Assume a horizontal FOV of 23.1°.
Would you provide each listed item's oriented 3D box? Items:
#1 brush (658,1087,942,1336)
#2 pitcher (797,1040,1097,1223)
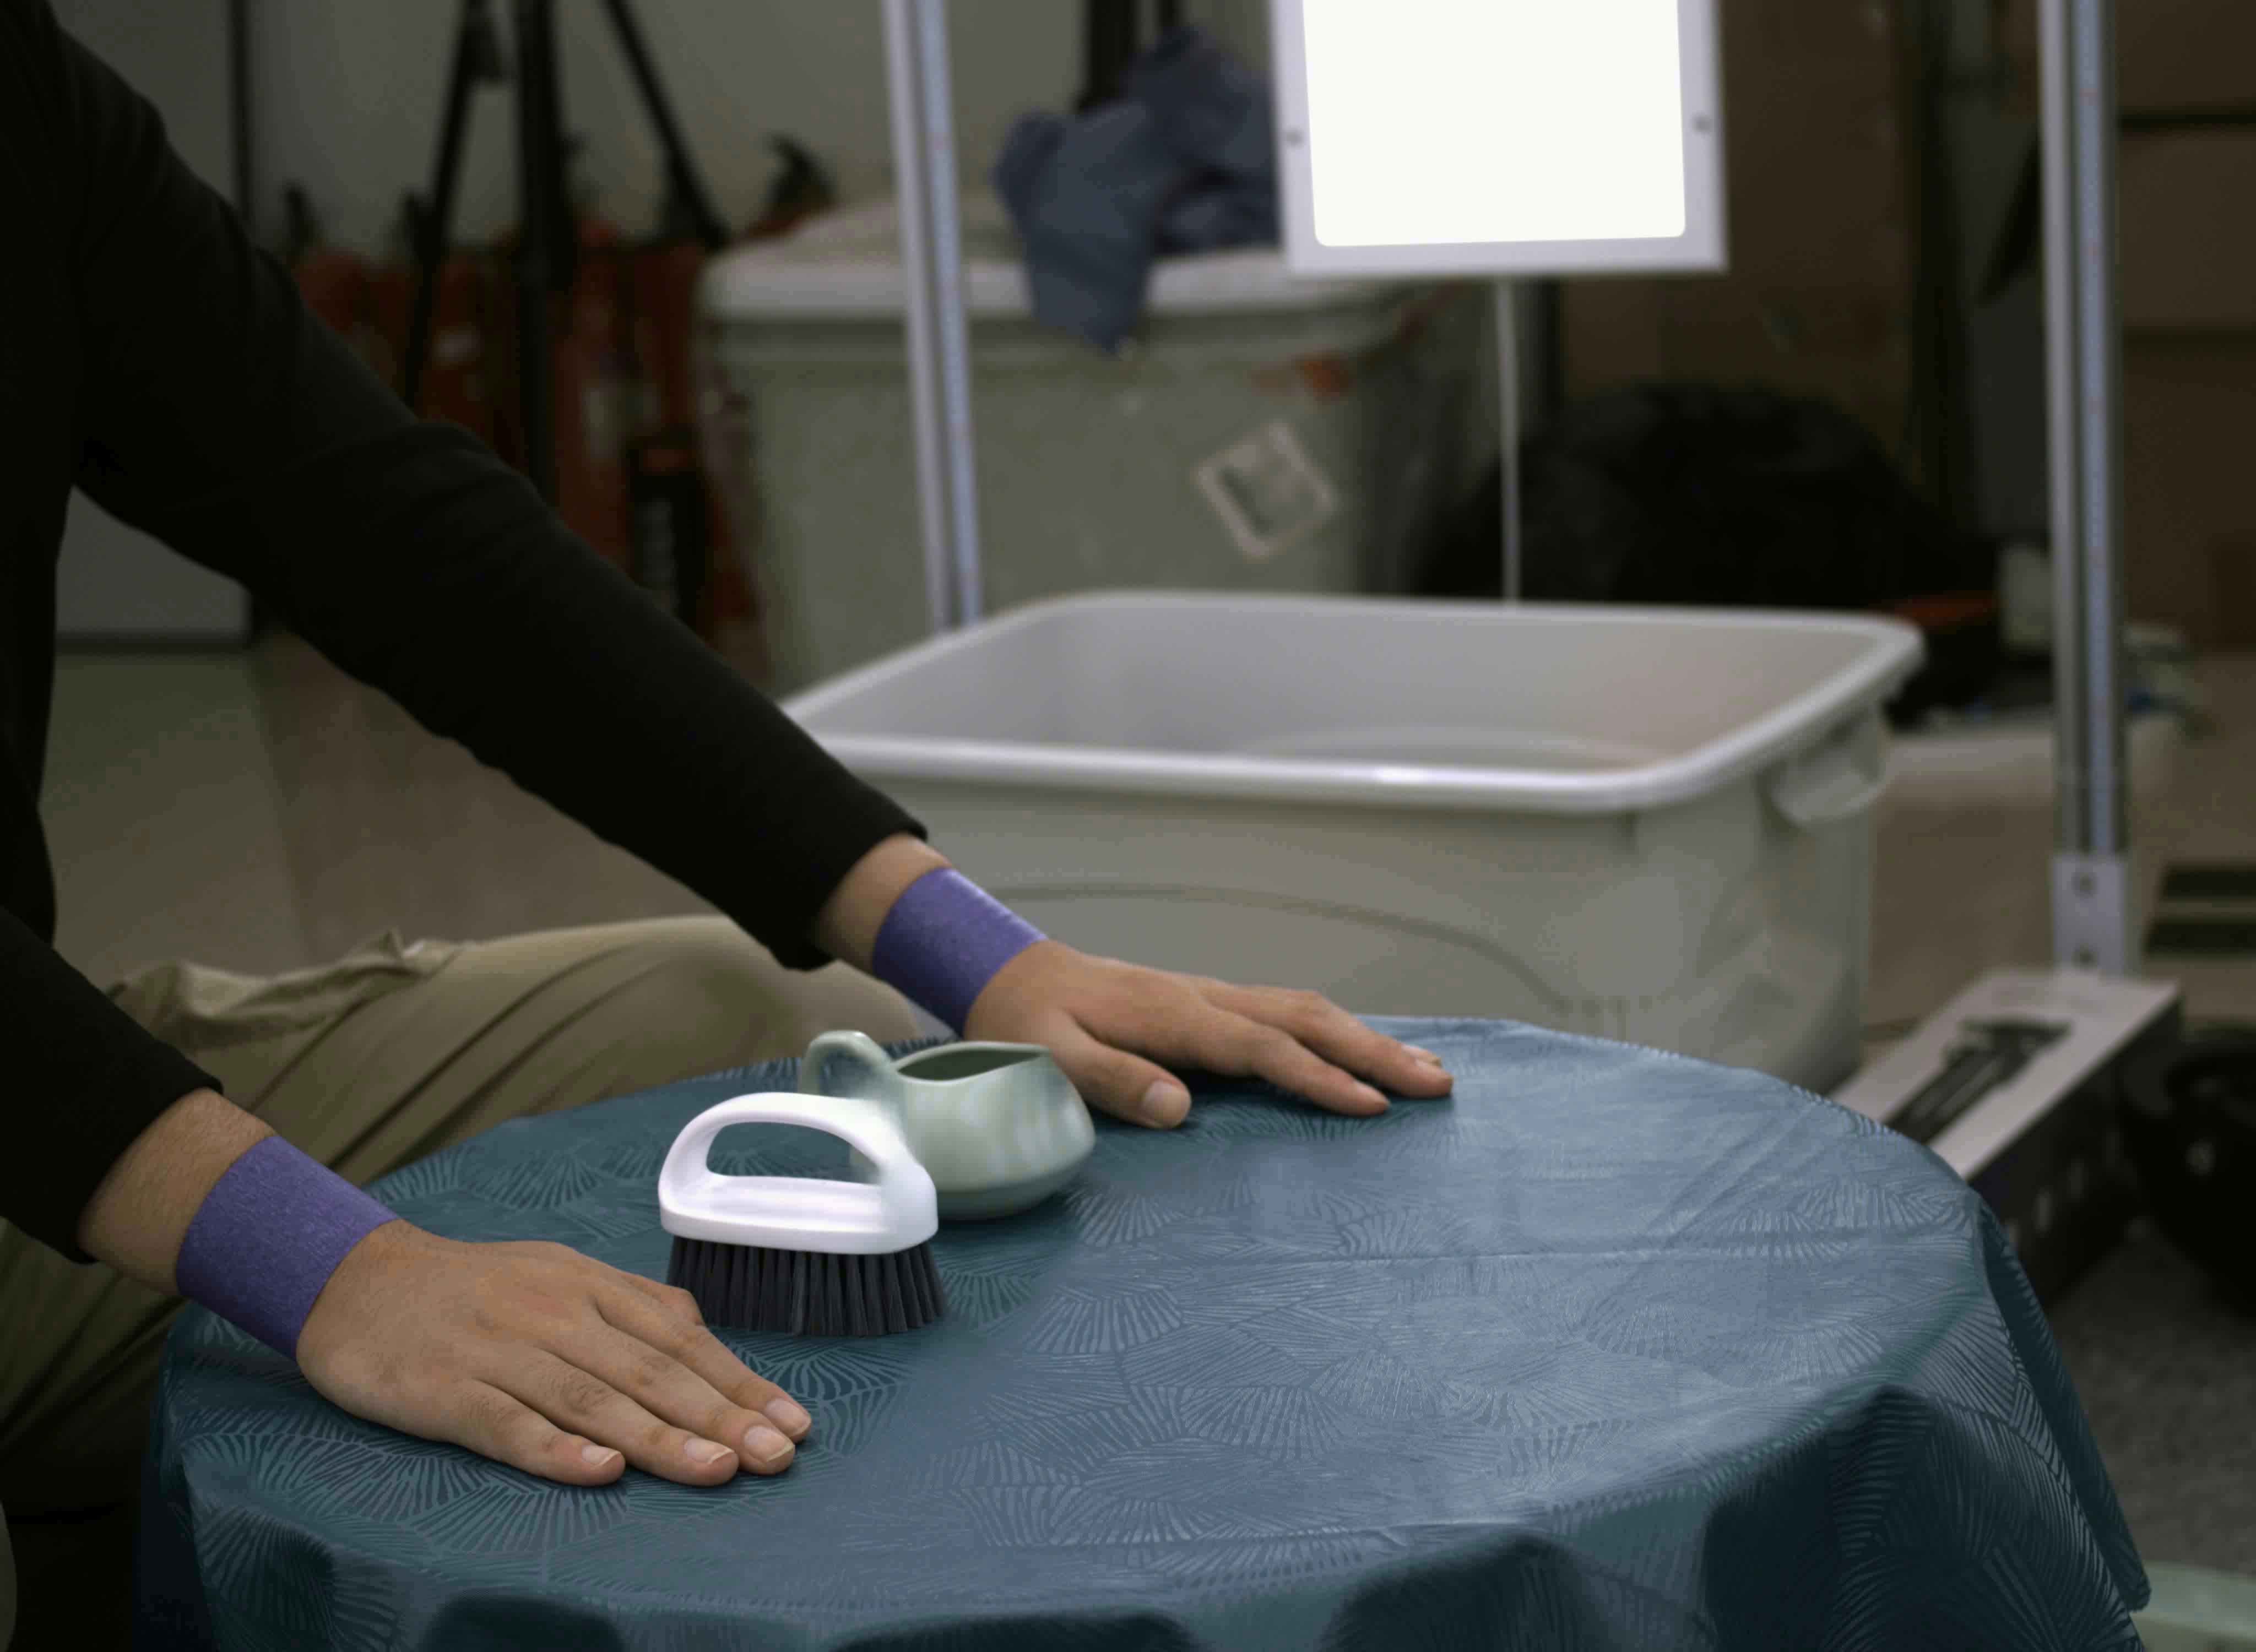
[{"bbox_3d":[-0.109,0.122,1.799,0.101,0.073,0.049,5,16,32],"label":"brush"},{"bbox_3d":[-0.065,0.103,1.901,0.109,0.060,0.084,-2,13,24],"label":"pitcher"}]
